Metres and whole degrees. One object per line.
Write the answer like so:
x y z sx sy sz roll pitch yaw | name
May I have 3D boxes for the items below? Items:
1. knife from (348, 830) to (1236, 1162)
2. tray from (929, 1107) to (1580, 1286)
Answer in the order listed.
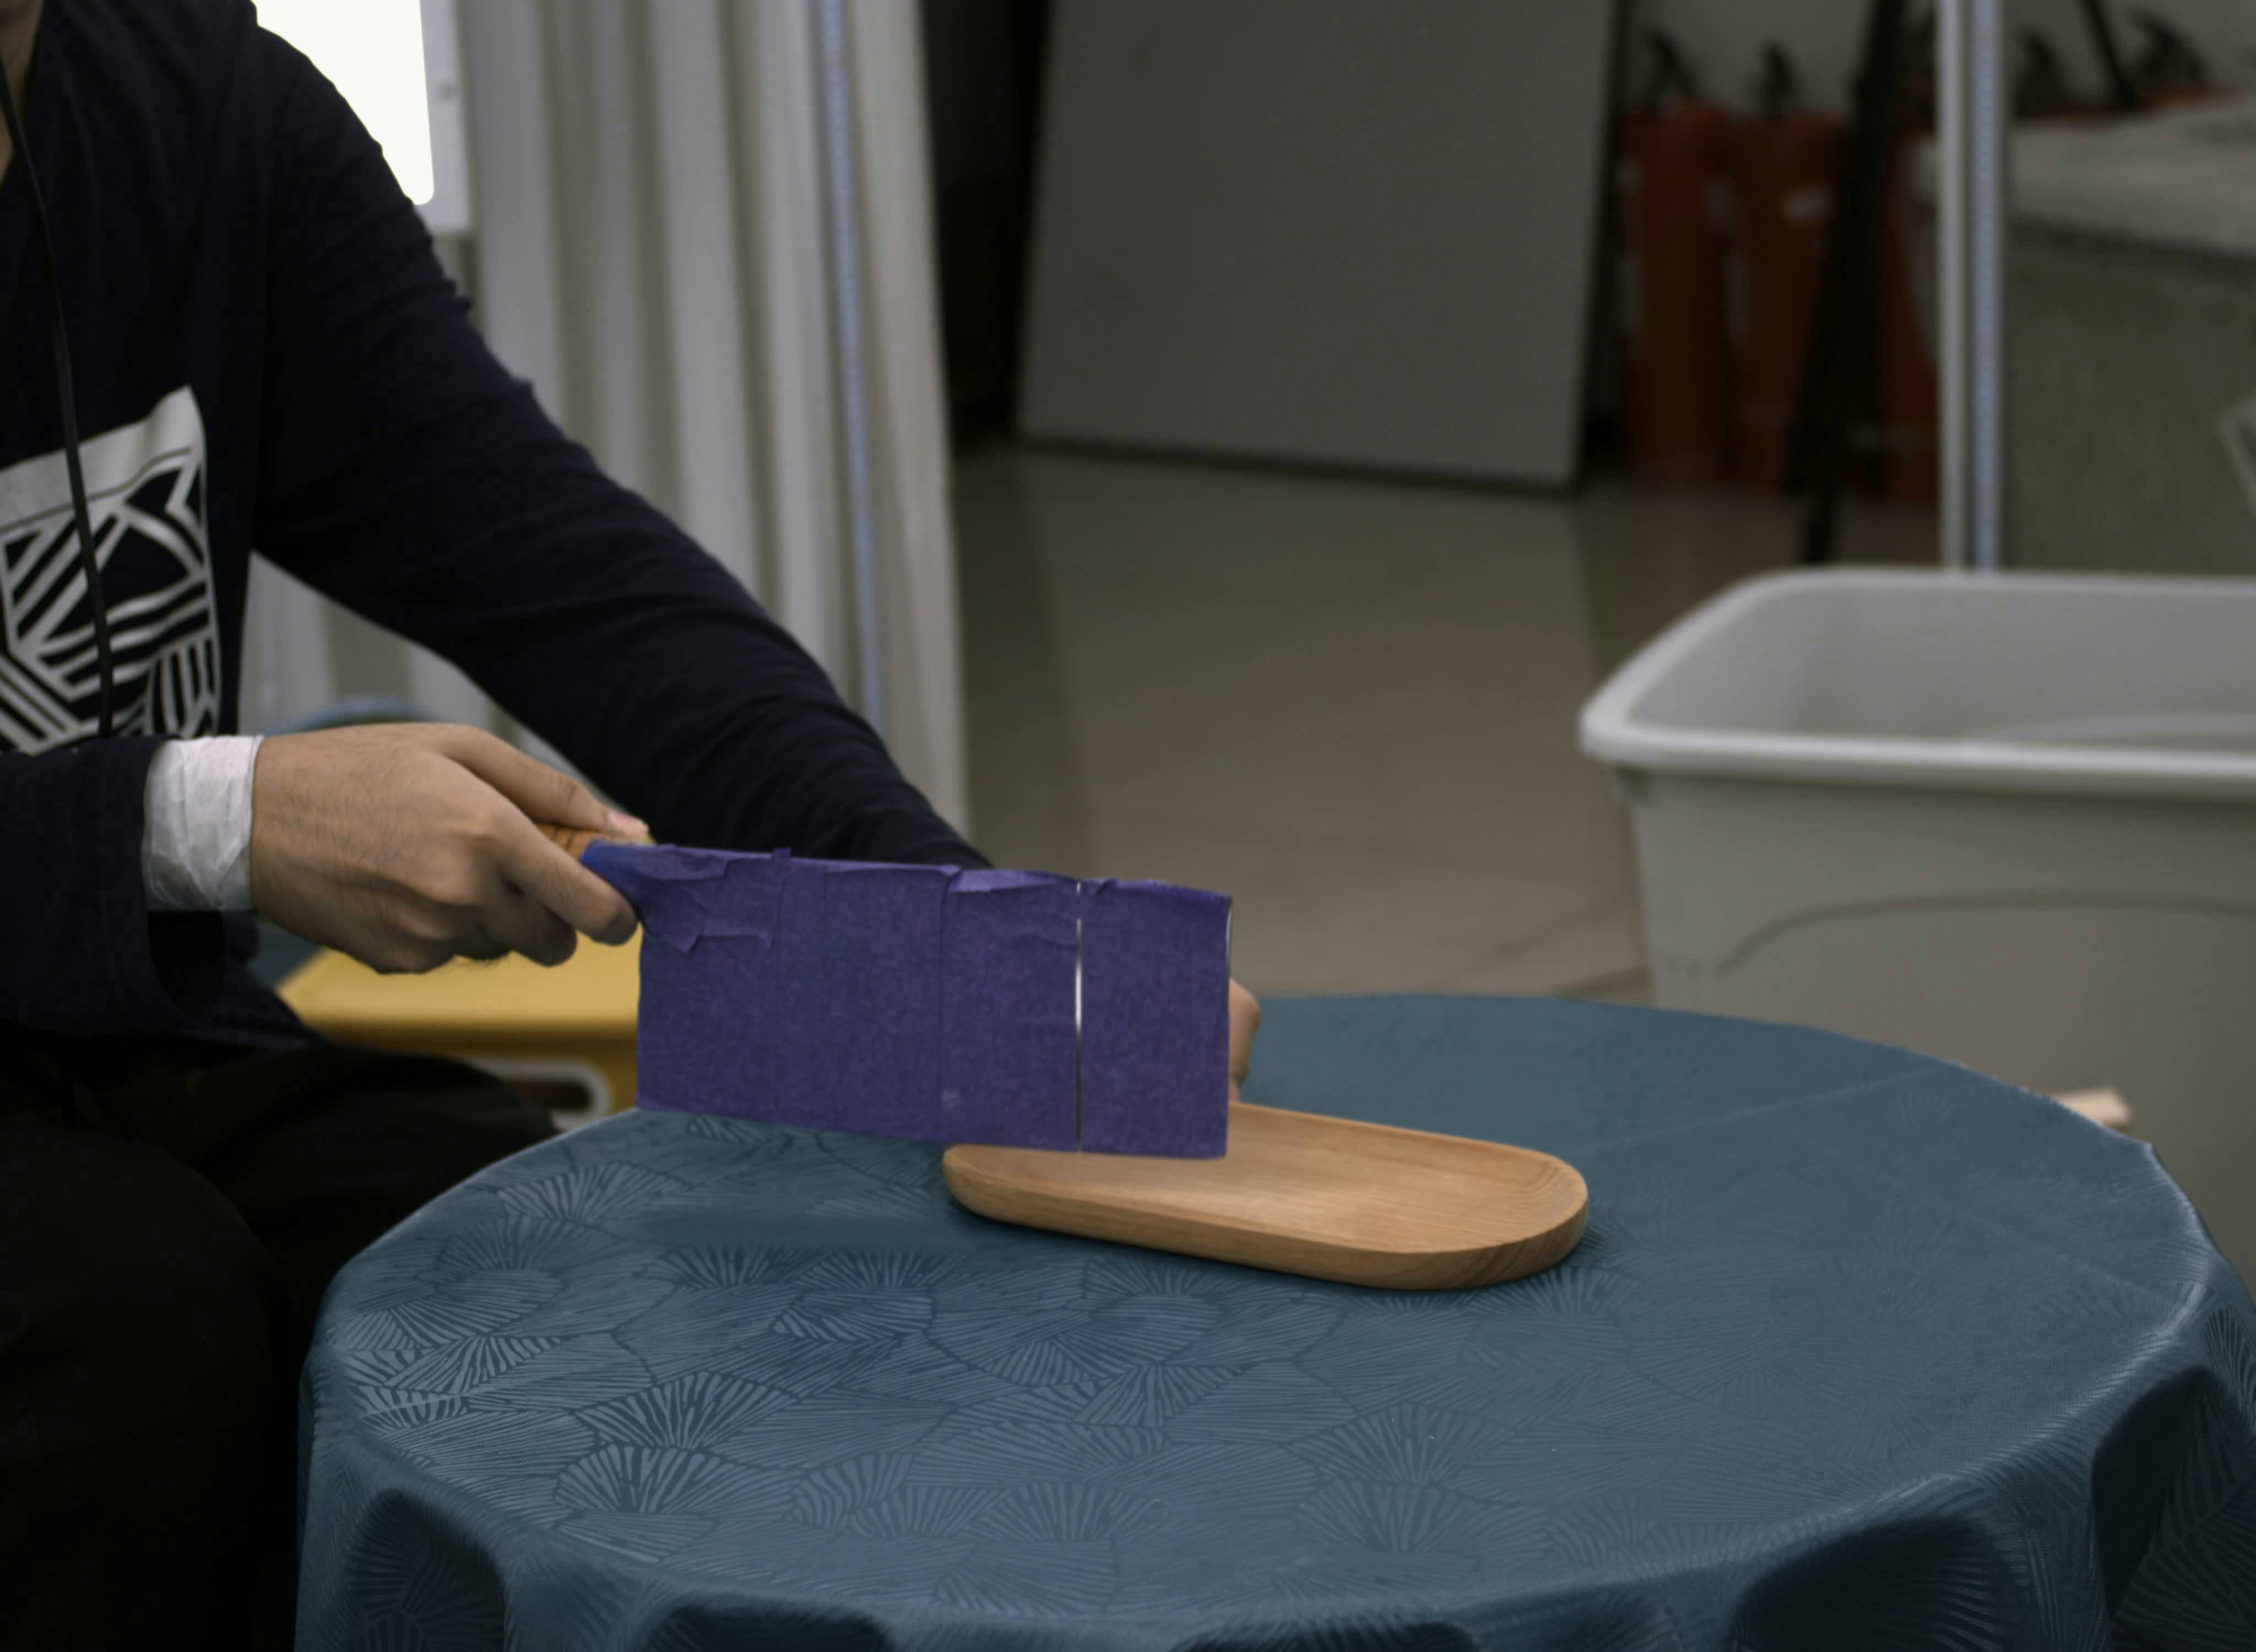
-0.113 0.054 1.773 0.315 0.105 0.032 3 4 22 | knife
0.039 0.117 1.737 0.232 0.020 0.100 4 16 34 | tray
